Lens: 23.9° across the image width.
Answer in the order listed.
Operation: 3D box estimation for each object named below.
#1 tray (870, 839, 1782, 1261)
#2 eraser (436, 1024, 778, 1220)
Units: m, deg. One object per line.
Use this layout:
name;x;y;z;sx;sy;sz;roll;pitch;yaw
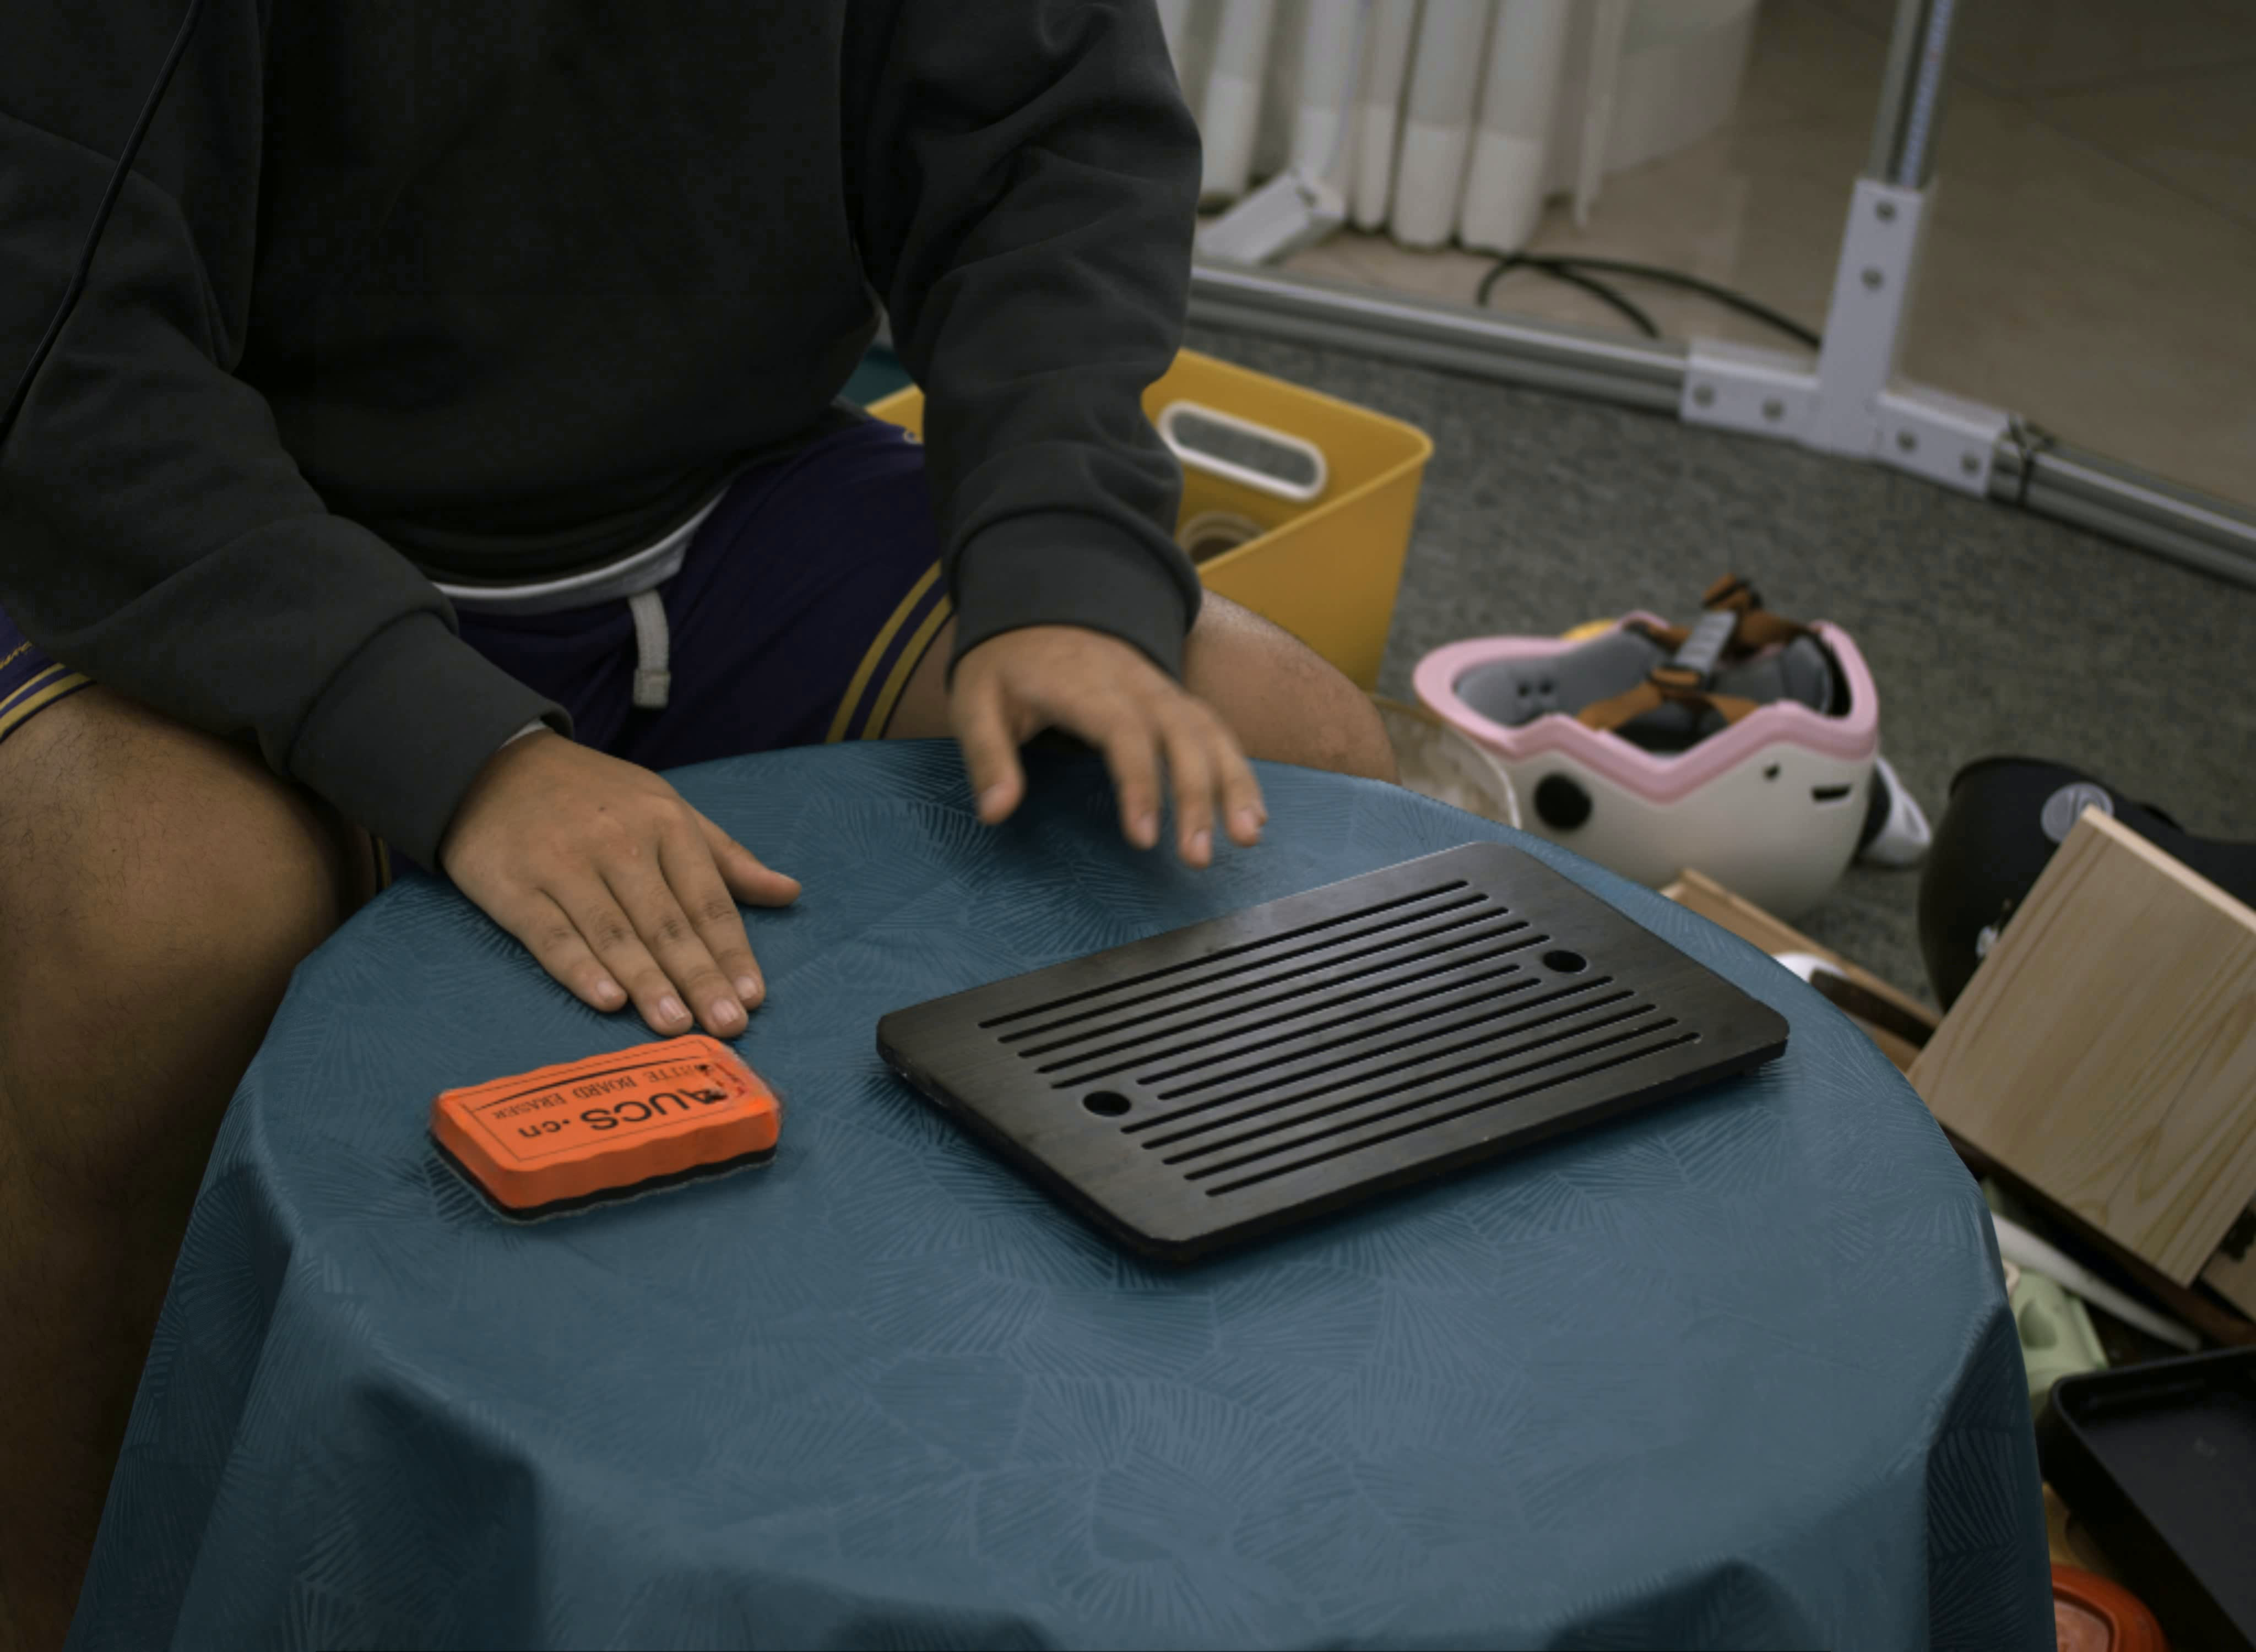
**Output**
tray;0.073;0.077;1.890;0.304;0.018;0.171;-15;34;-36
eraser;-0.174;0.098;1.779;0.107;0.023;0.059;-14;33;-32
